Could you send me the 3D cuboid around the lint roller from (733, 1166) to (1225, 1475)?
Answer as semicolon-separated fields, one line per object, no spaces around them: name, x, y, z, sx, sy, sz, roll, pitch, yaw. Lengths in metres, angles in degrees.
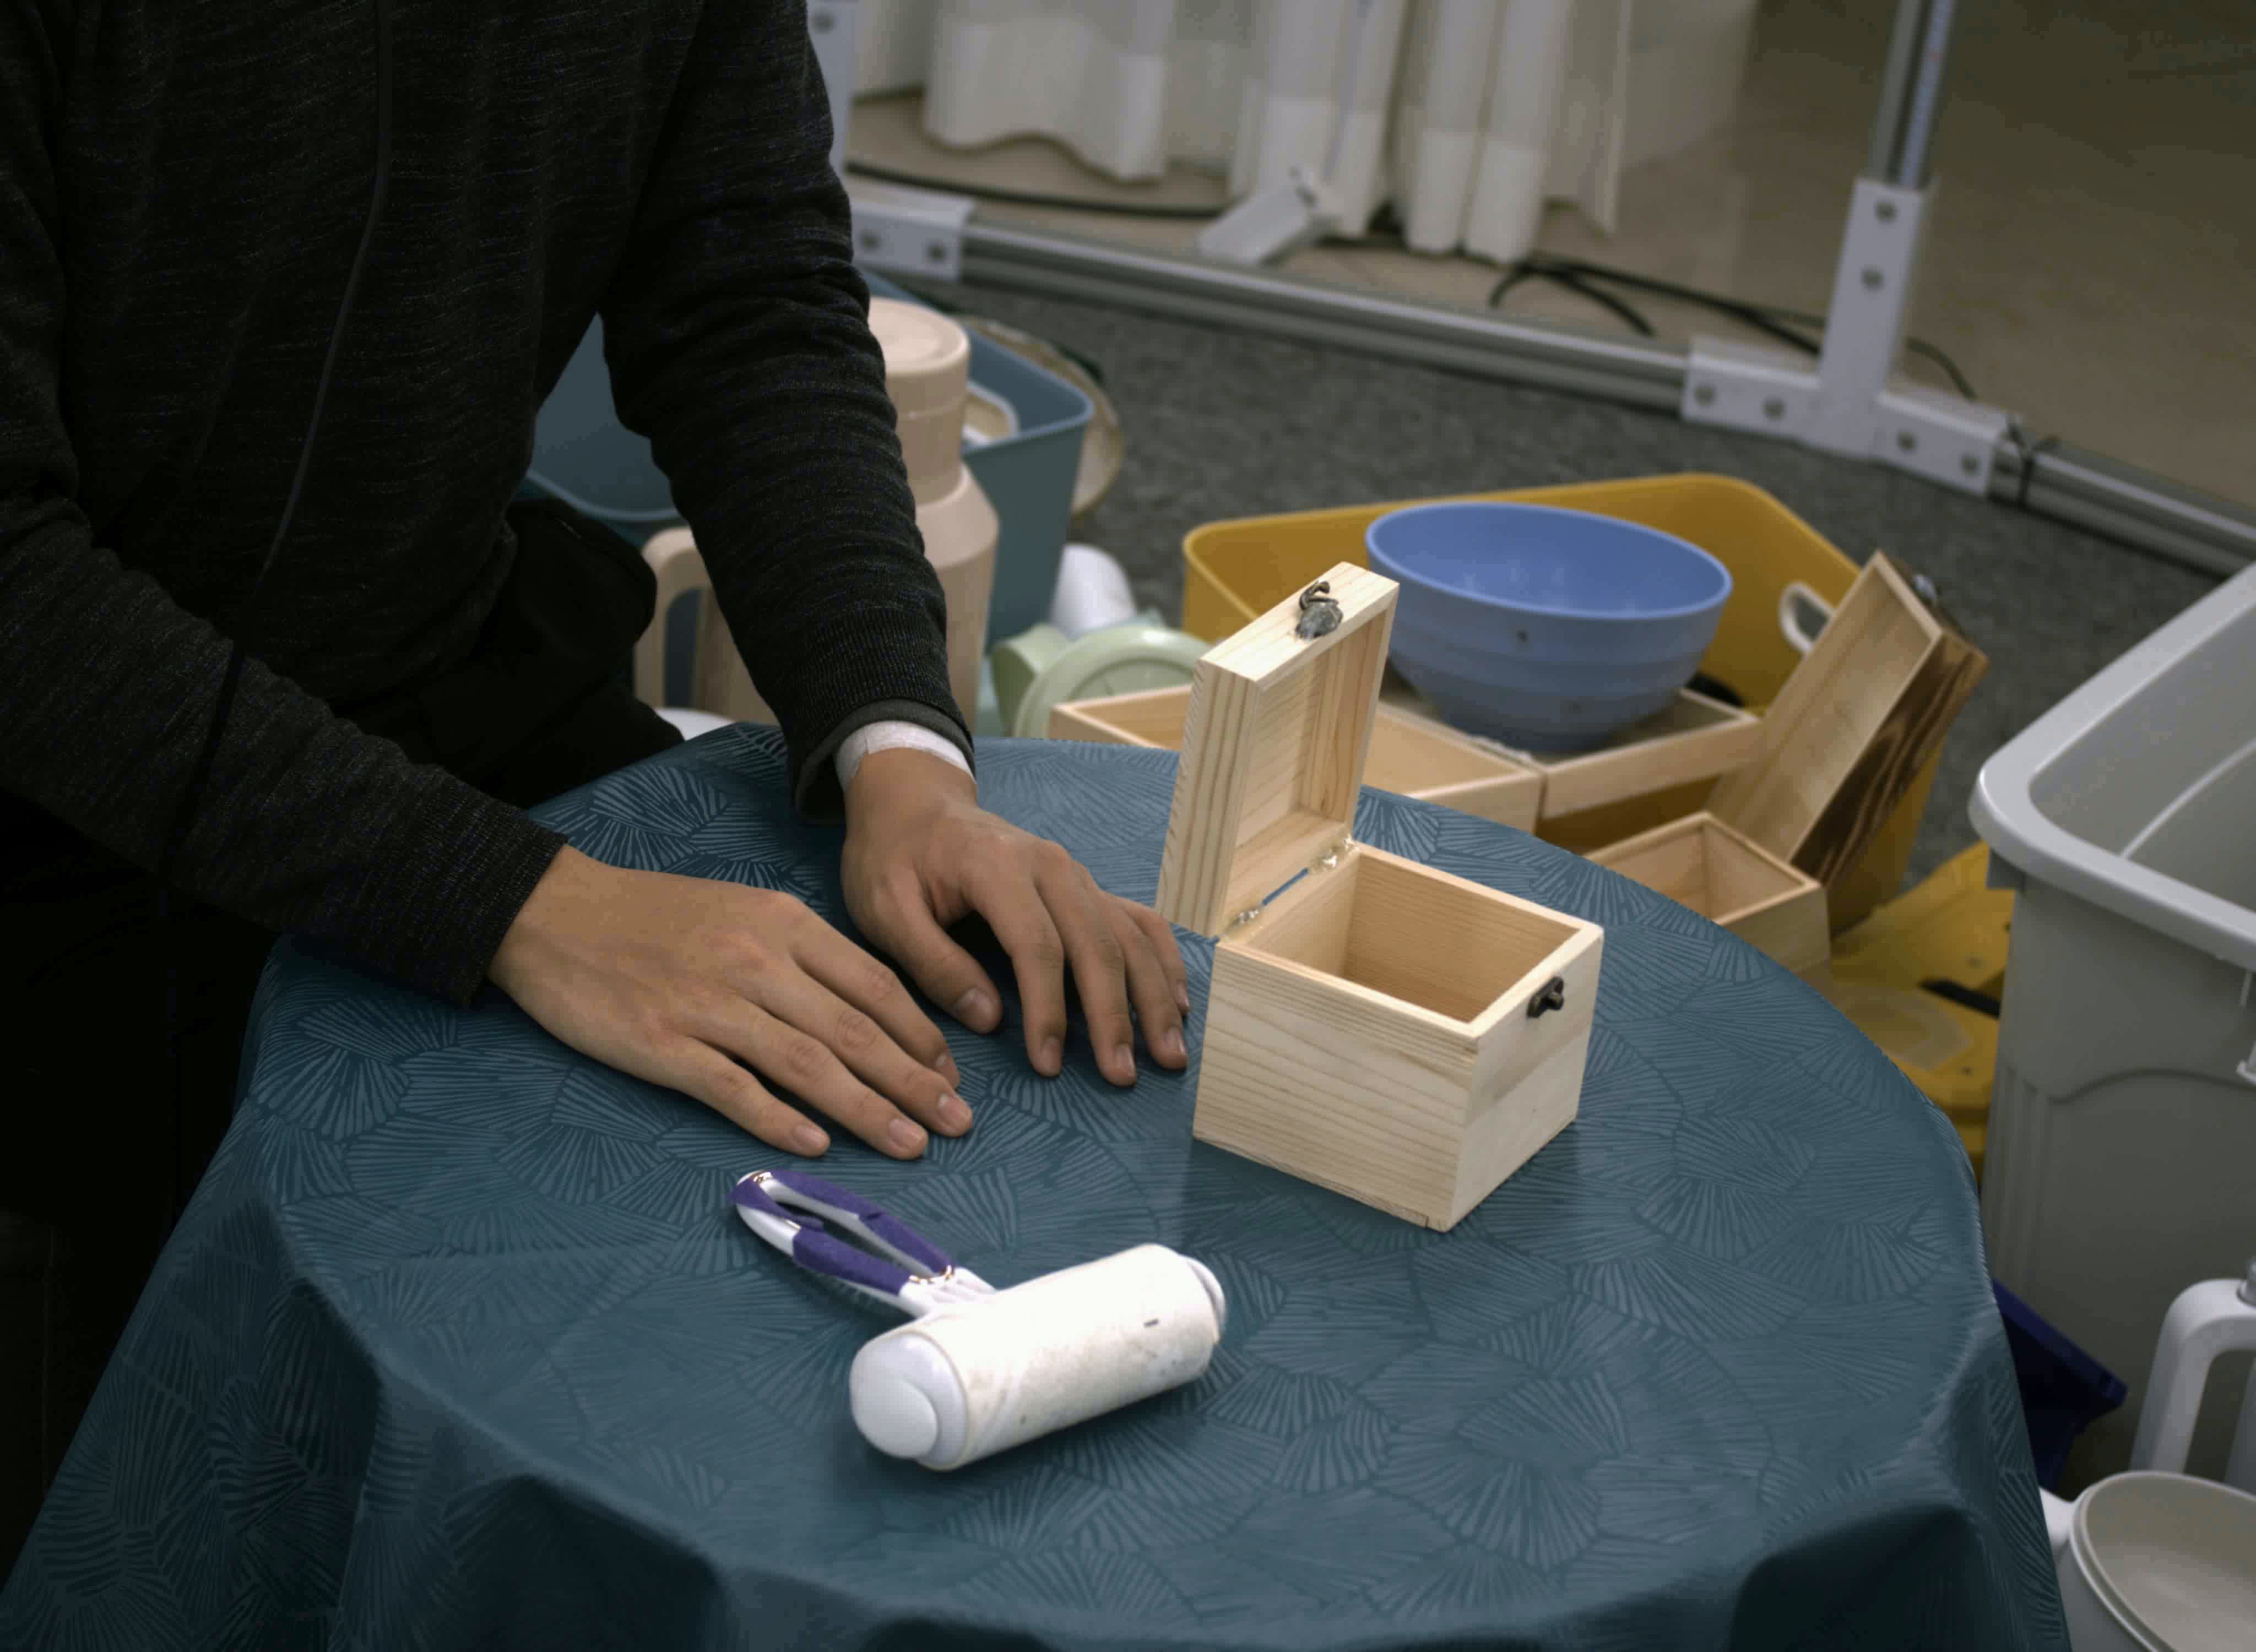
lint roller;-0.066;0.139;1.706;0.132;0.050;0.182;-16;36;-35

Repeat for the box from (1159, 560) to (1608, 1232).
box;0.092;0.022;1.821;0.134;0.184;0.102;19;29;25
